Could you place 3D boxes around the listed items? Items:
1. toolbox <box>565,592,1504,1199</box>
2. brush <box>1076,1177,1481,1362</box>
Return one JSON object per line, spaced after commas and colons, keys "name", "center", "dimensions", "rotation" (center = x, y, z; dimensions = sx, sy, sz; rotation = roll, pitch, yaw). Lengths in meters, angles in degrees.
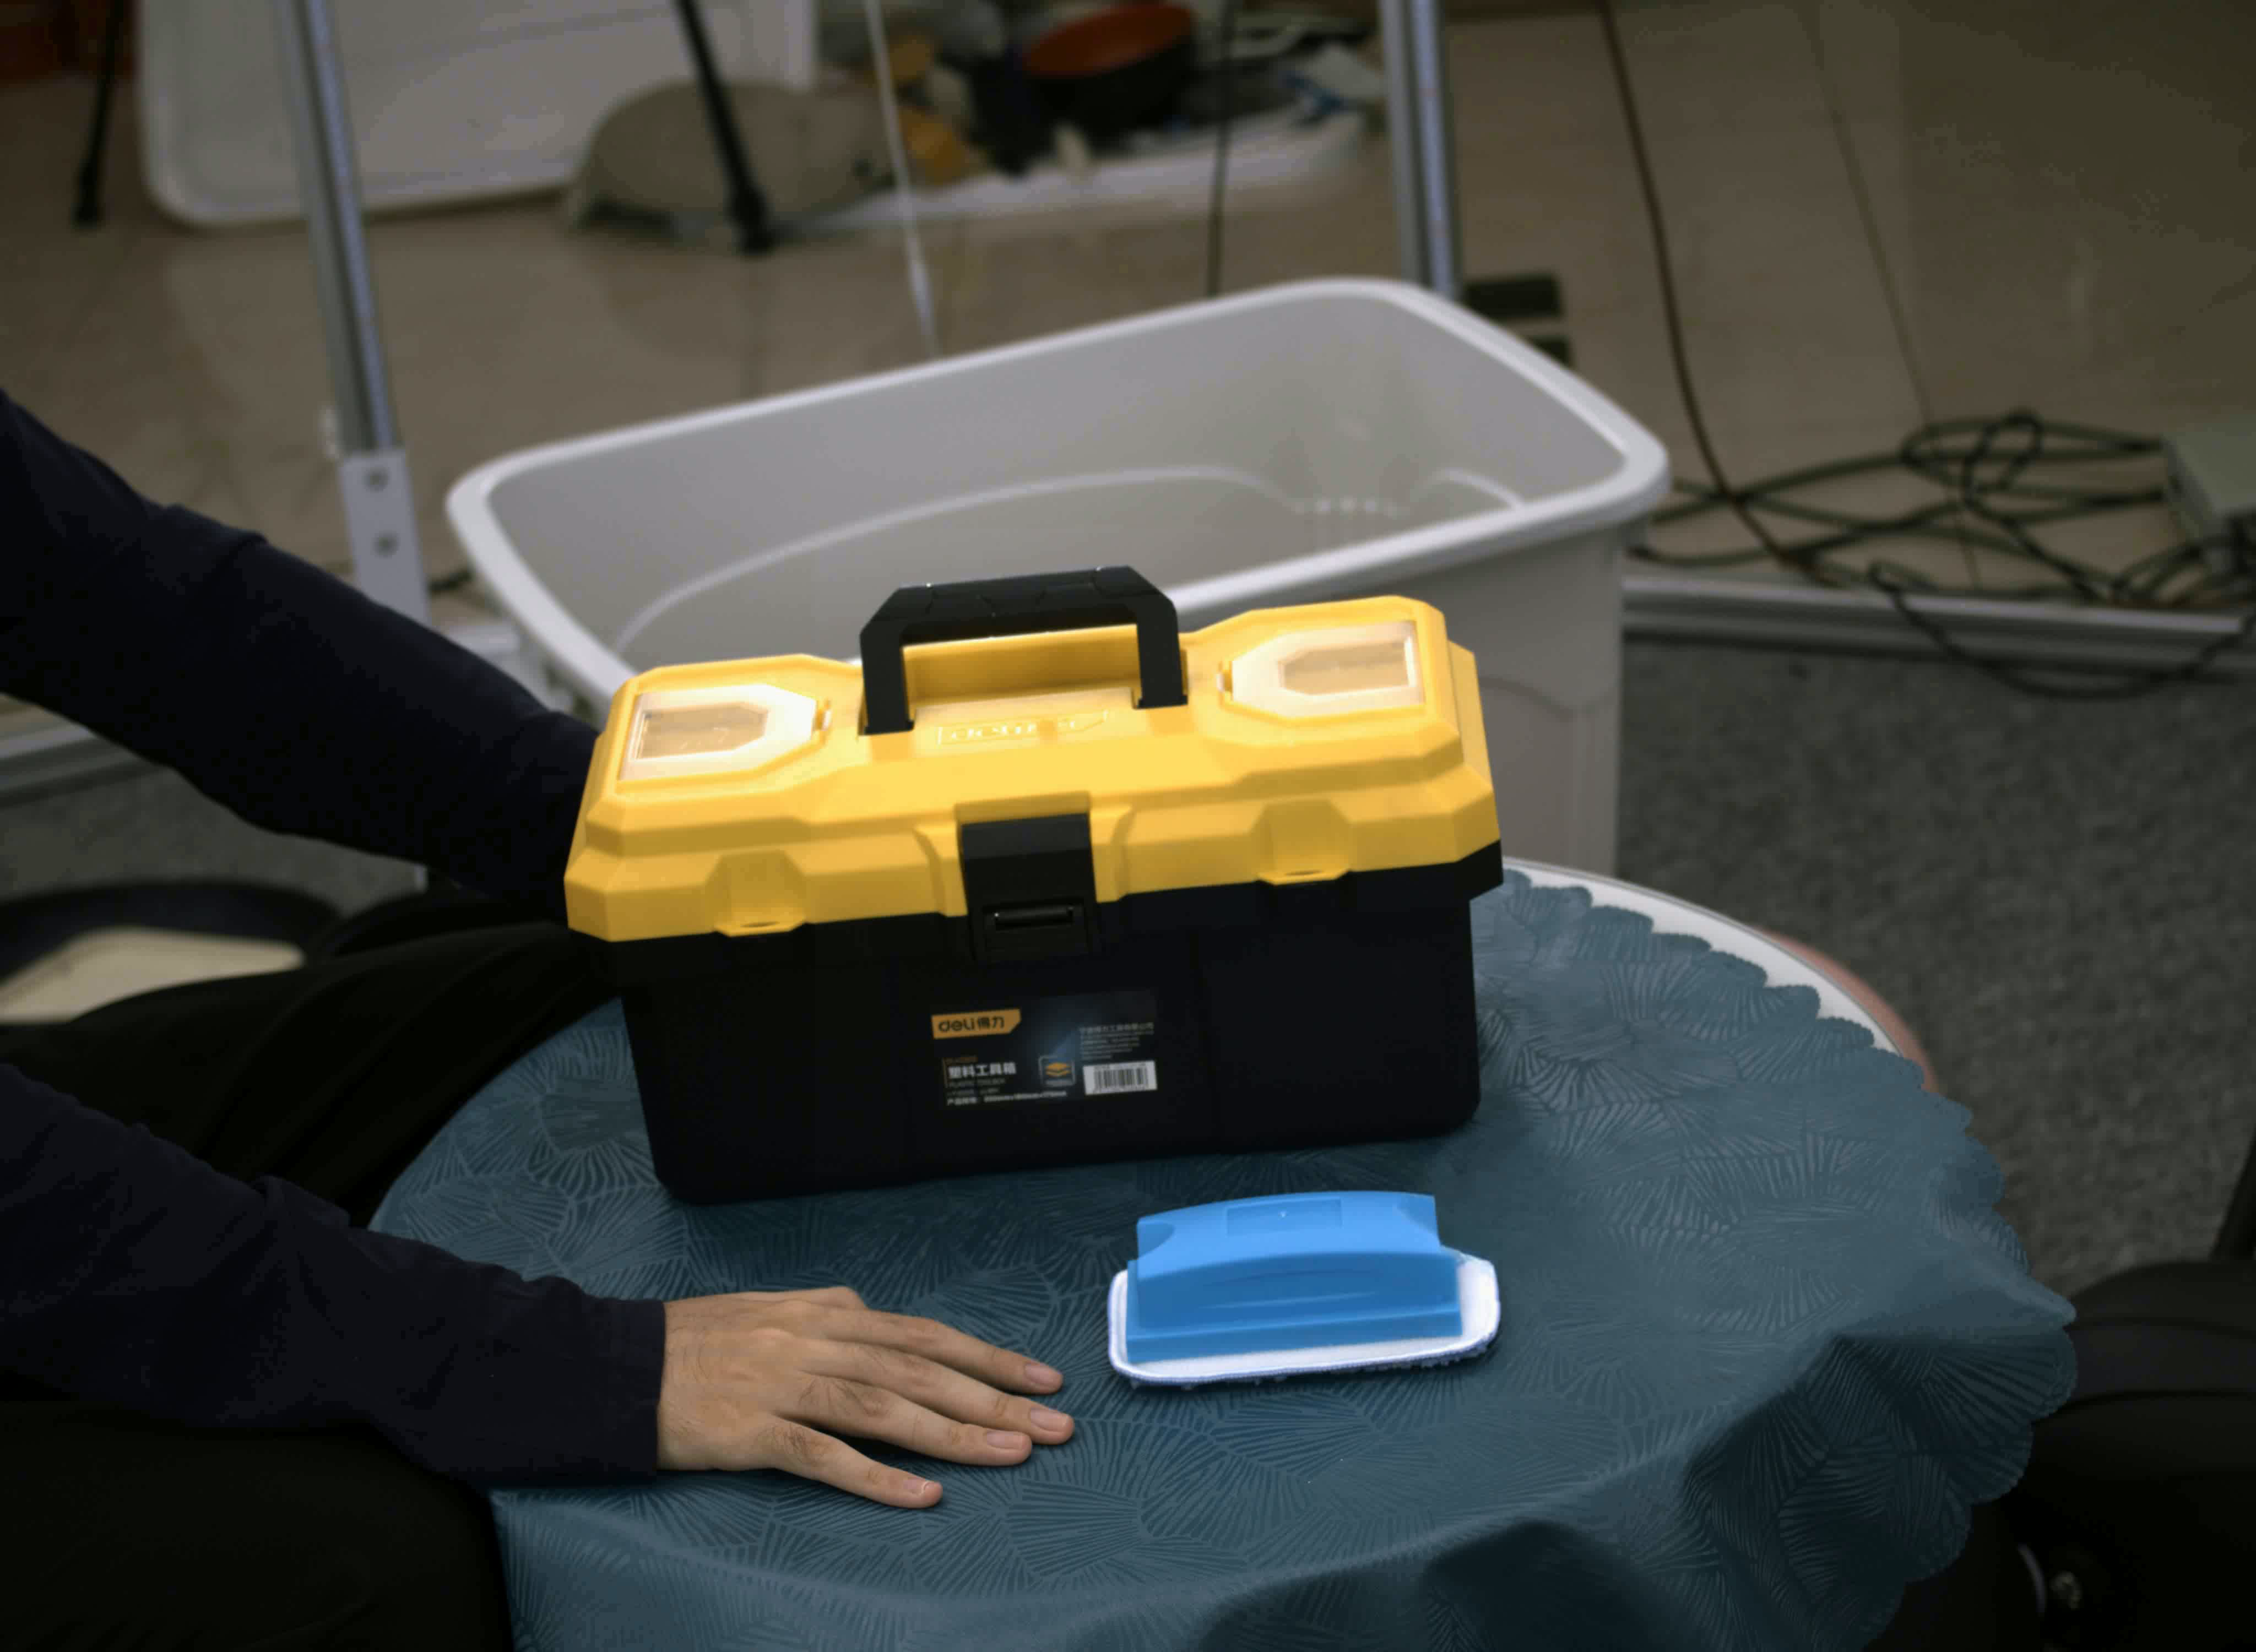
{"name": "toolbox", "center": [-0.032, 0.029, 2.183], "dimensions": [0.351, 0.175, 0.178], "rotation": [-5, 25, 3]}
{"name": "brush", "center": [0.053, 0.155, 2.023], "dimensions": [0.144, 0.057, 0.083], "rotation": [-2, 22, 4]}
